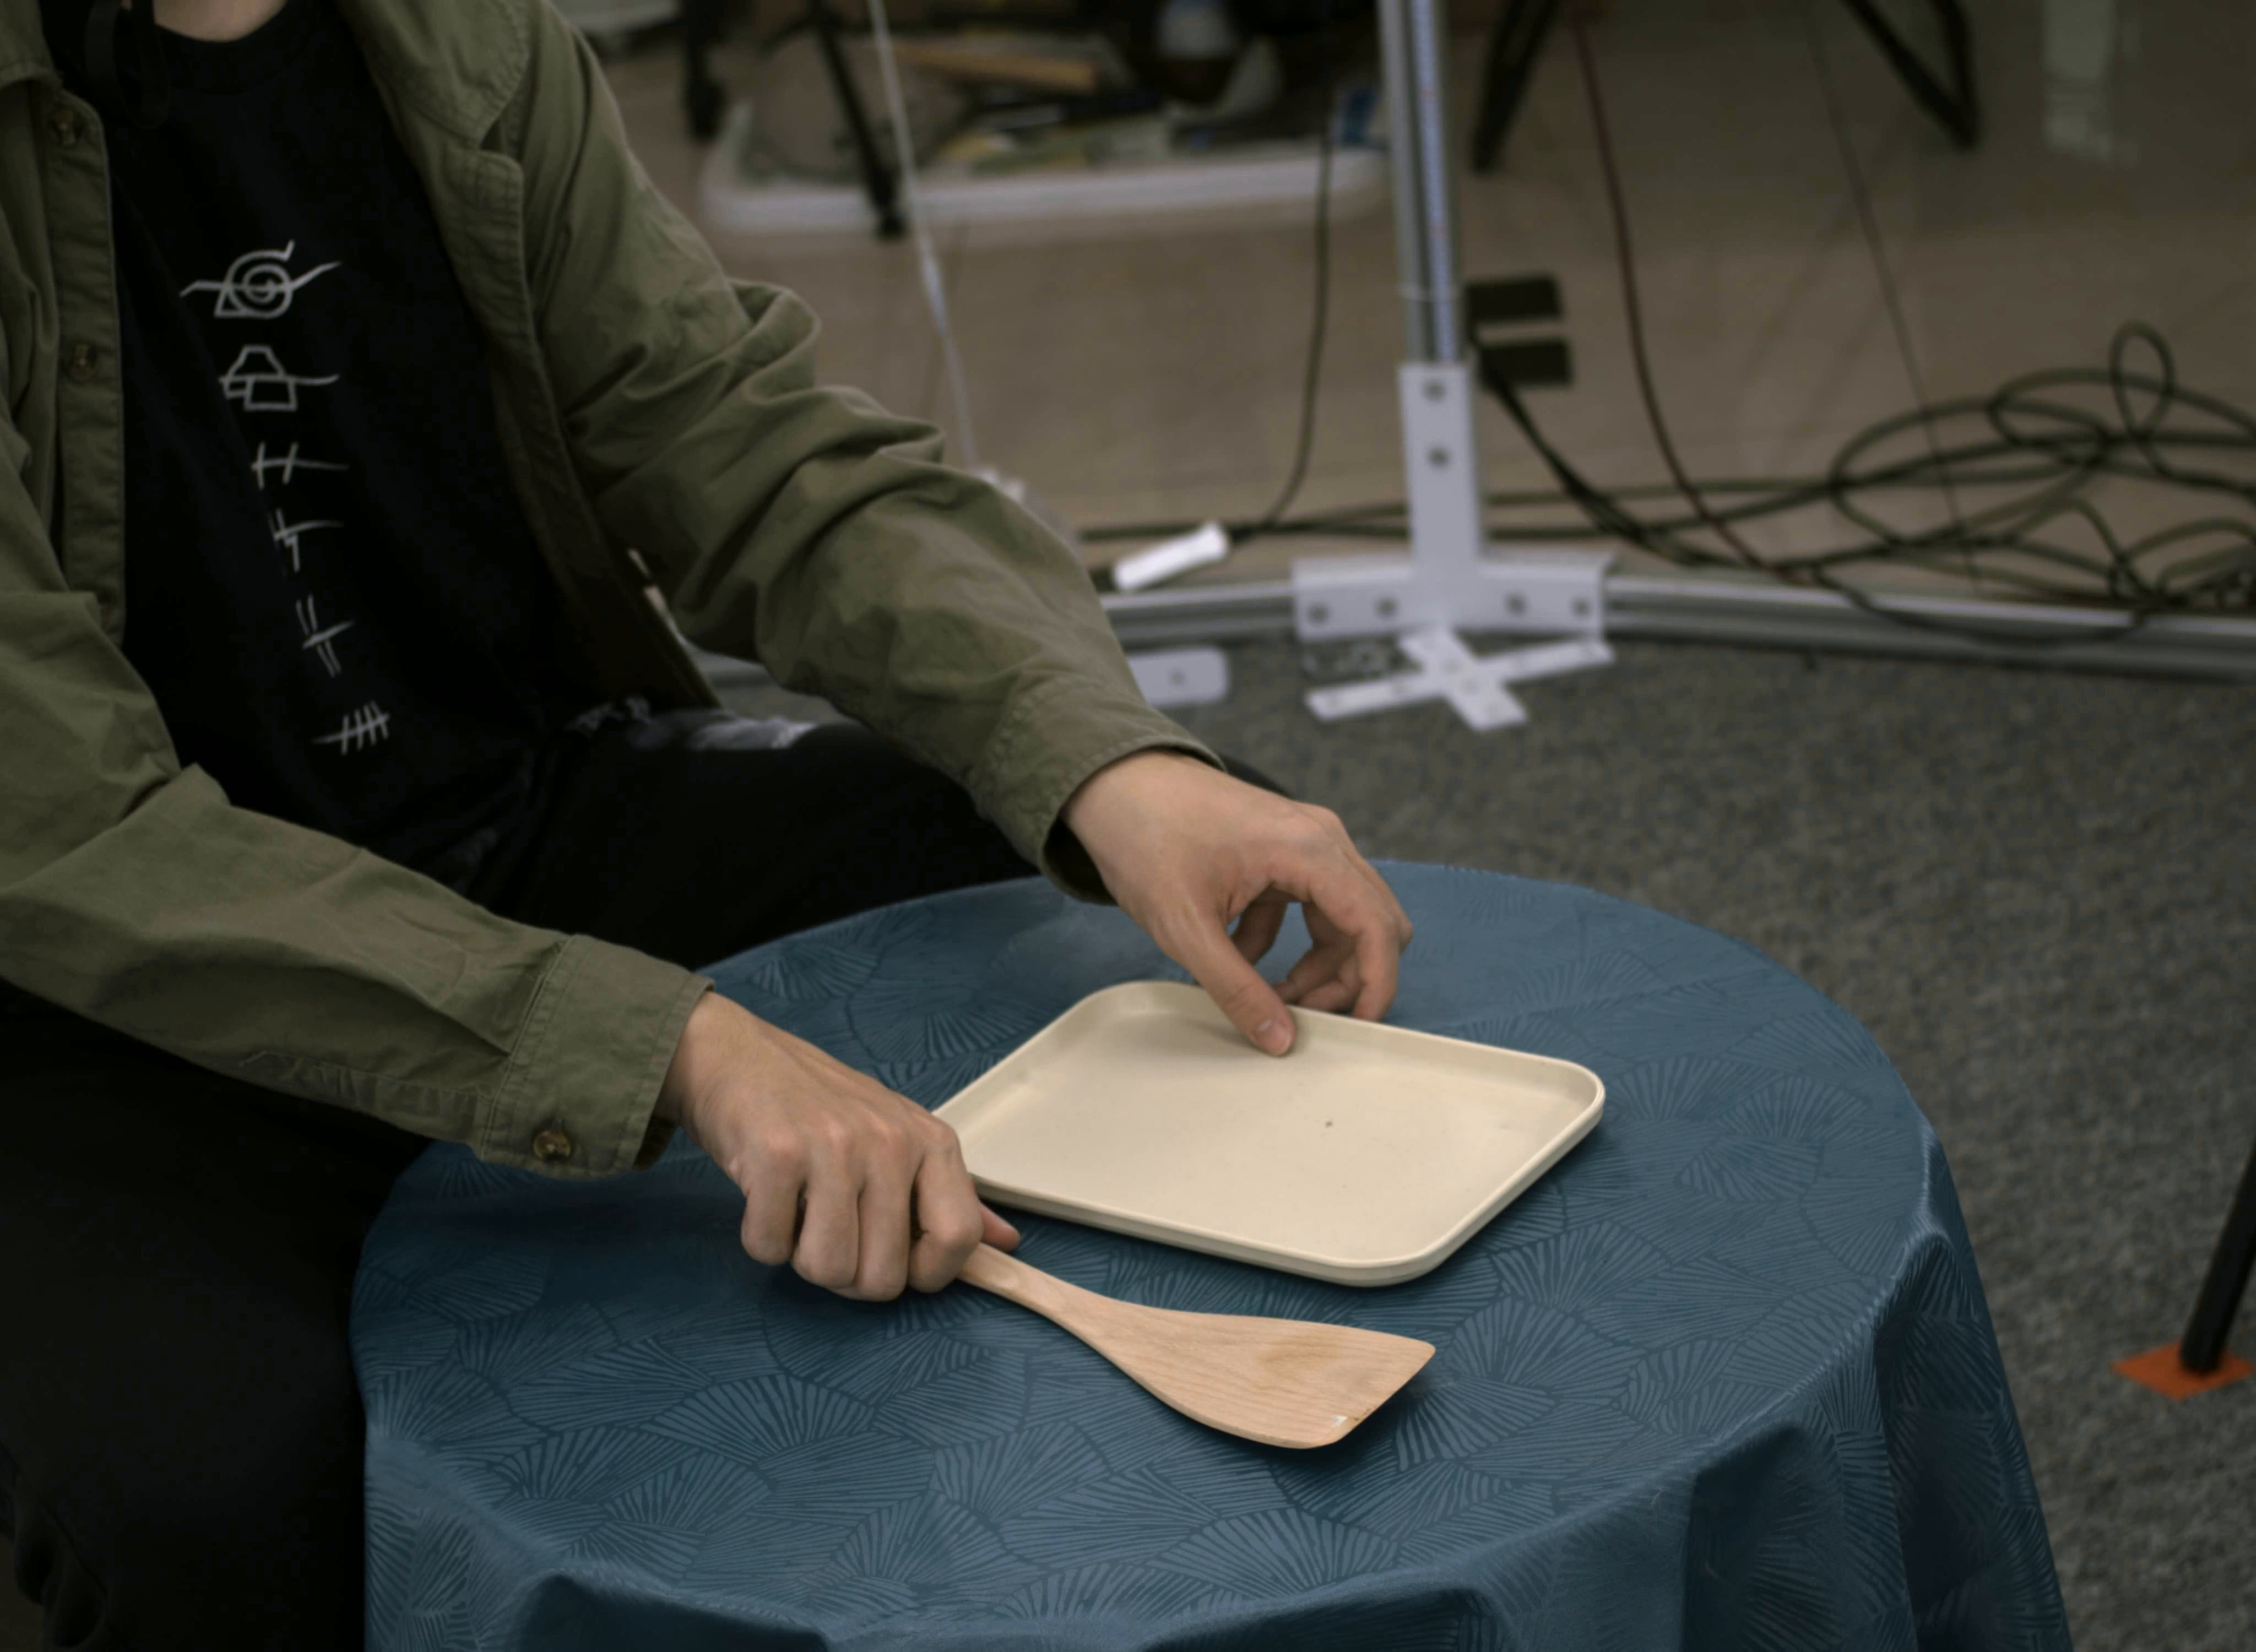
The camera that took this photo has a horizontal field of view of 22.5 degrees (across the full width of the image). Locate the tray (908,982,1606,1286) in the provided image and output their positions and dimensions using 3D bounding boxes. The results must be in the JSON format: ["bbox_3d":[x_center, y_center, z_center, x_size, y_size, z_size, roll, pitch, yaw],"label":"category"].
[{"bbox_3d":[0.049,0.117,2.166,0.238,0.018,0.169,11,30,33],"label":"tray"}]

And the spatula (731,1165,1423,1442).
[{"bbox_3d":[-0.029,0.167,2.079,0.325,0.017,0.079,17,34,40],"label":"spatula"}]
